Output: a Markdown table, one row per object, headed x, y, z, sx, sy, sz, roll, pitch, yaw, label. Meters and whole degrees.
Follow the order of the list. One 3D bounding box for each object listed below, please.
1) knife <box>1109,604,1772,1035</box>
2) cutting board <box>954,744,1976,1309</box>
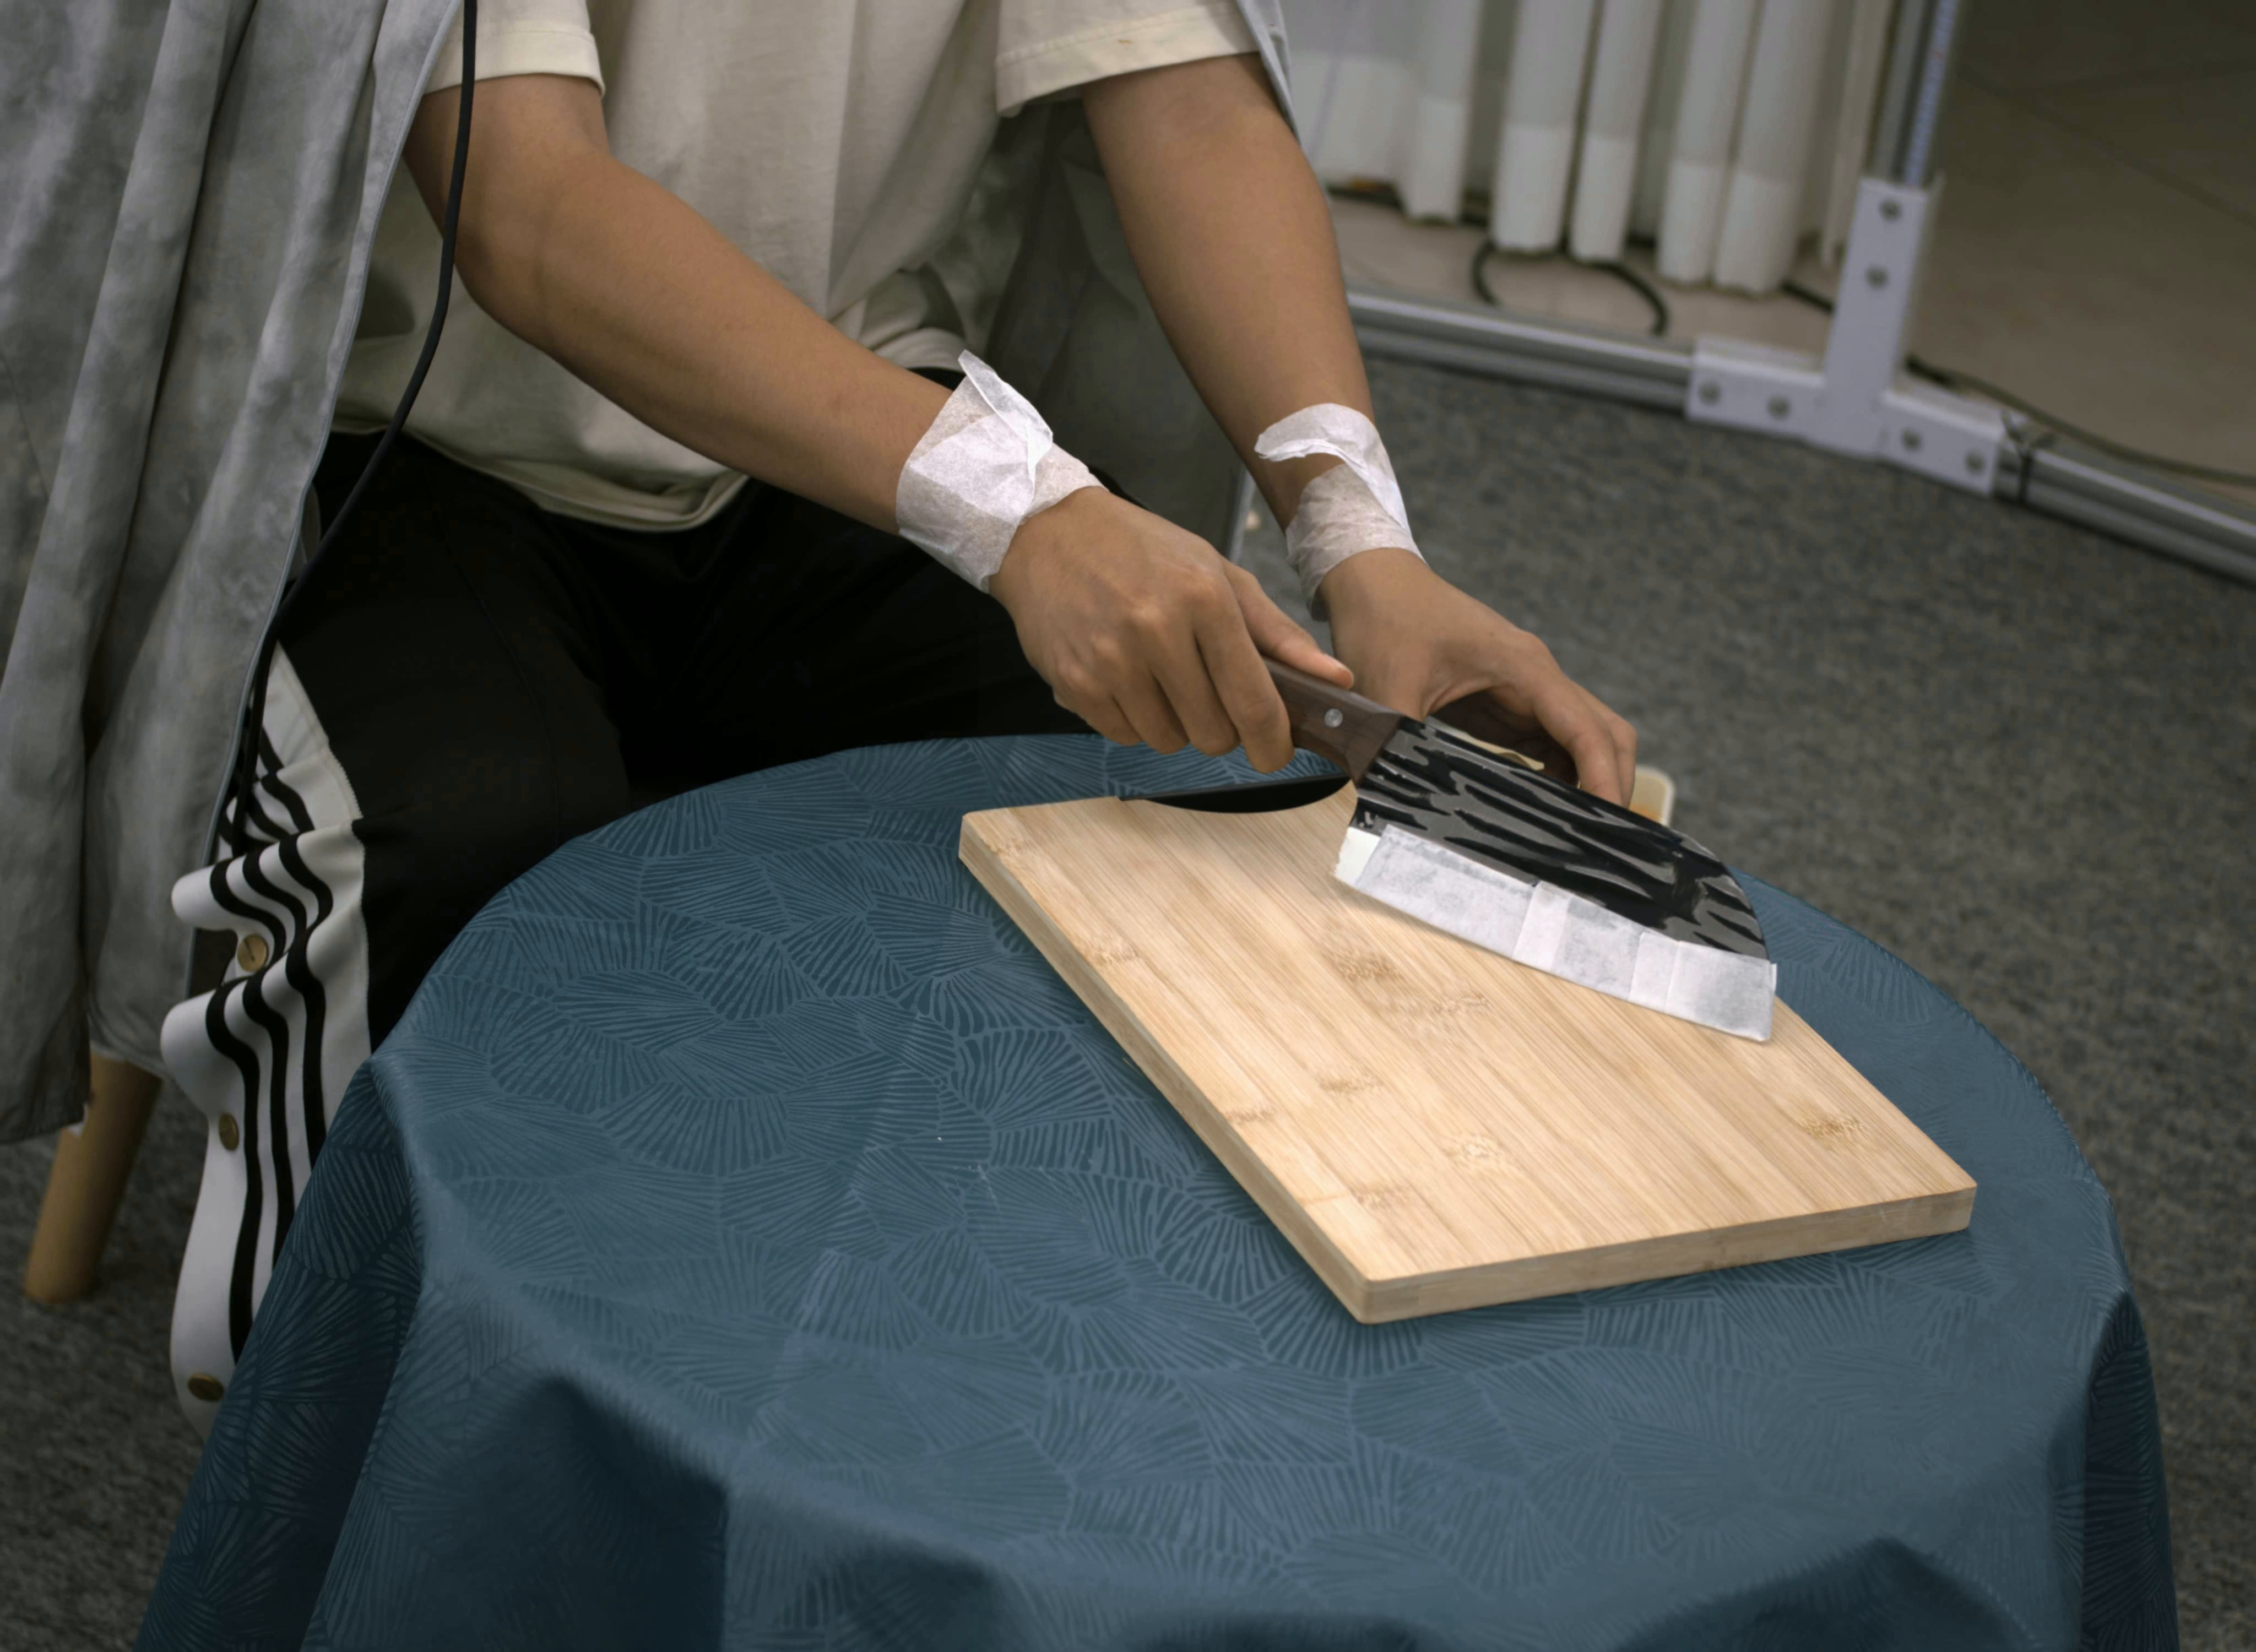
| x | y | z | sx | sy | sz | roll | pitch | yaw | label |
| --- | --- | --- | --- | --- | --- | --- | --- | --- | --- |
| 0.111 | -0.003 | 1.964 | 0.301 | 0.068 | 0.024 | 25 | -2 | 22 | knife |
| 0.113 | 0.066 | 1.926 | 0.249 | 0.023 | 0.352 | -7 | 30 | -25 | cutting board |
